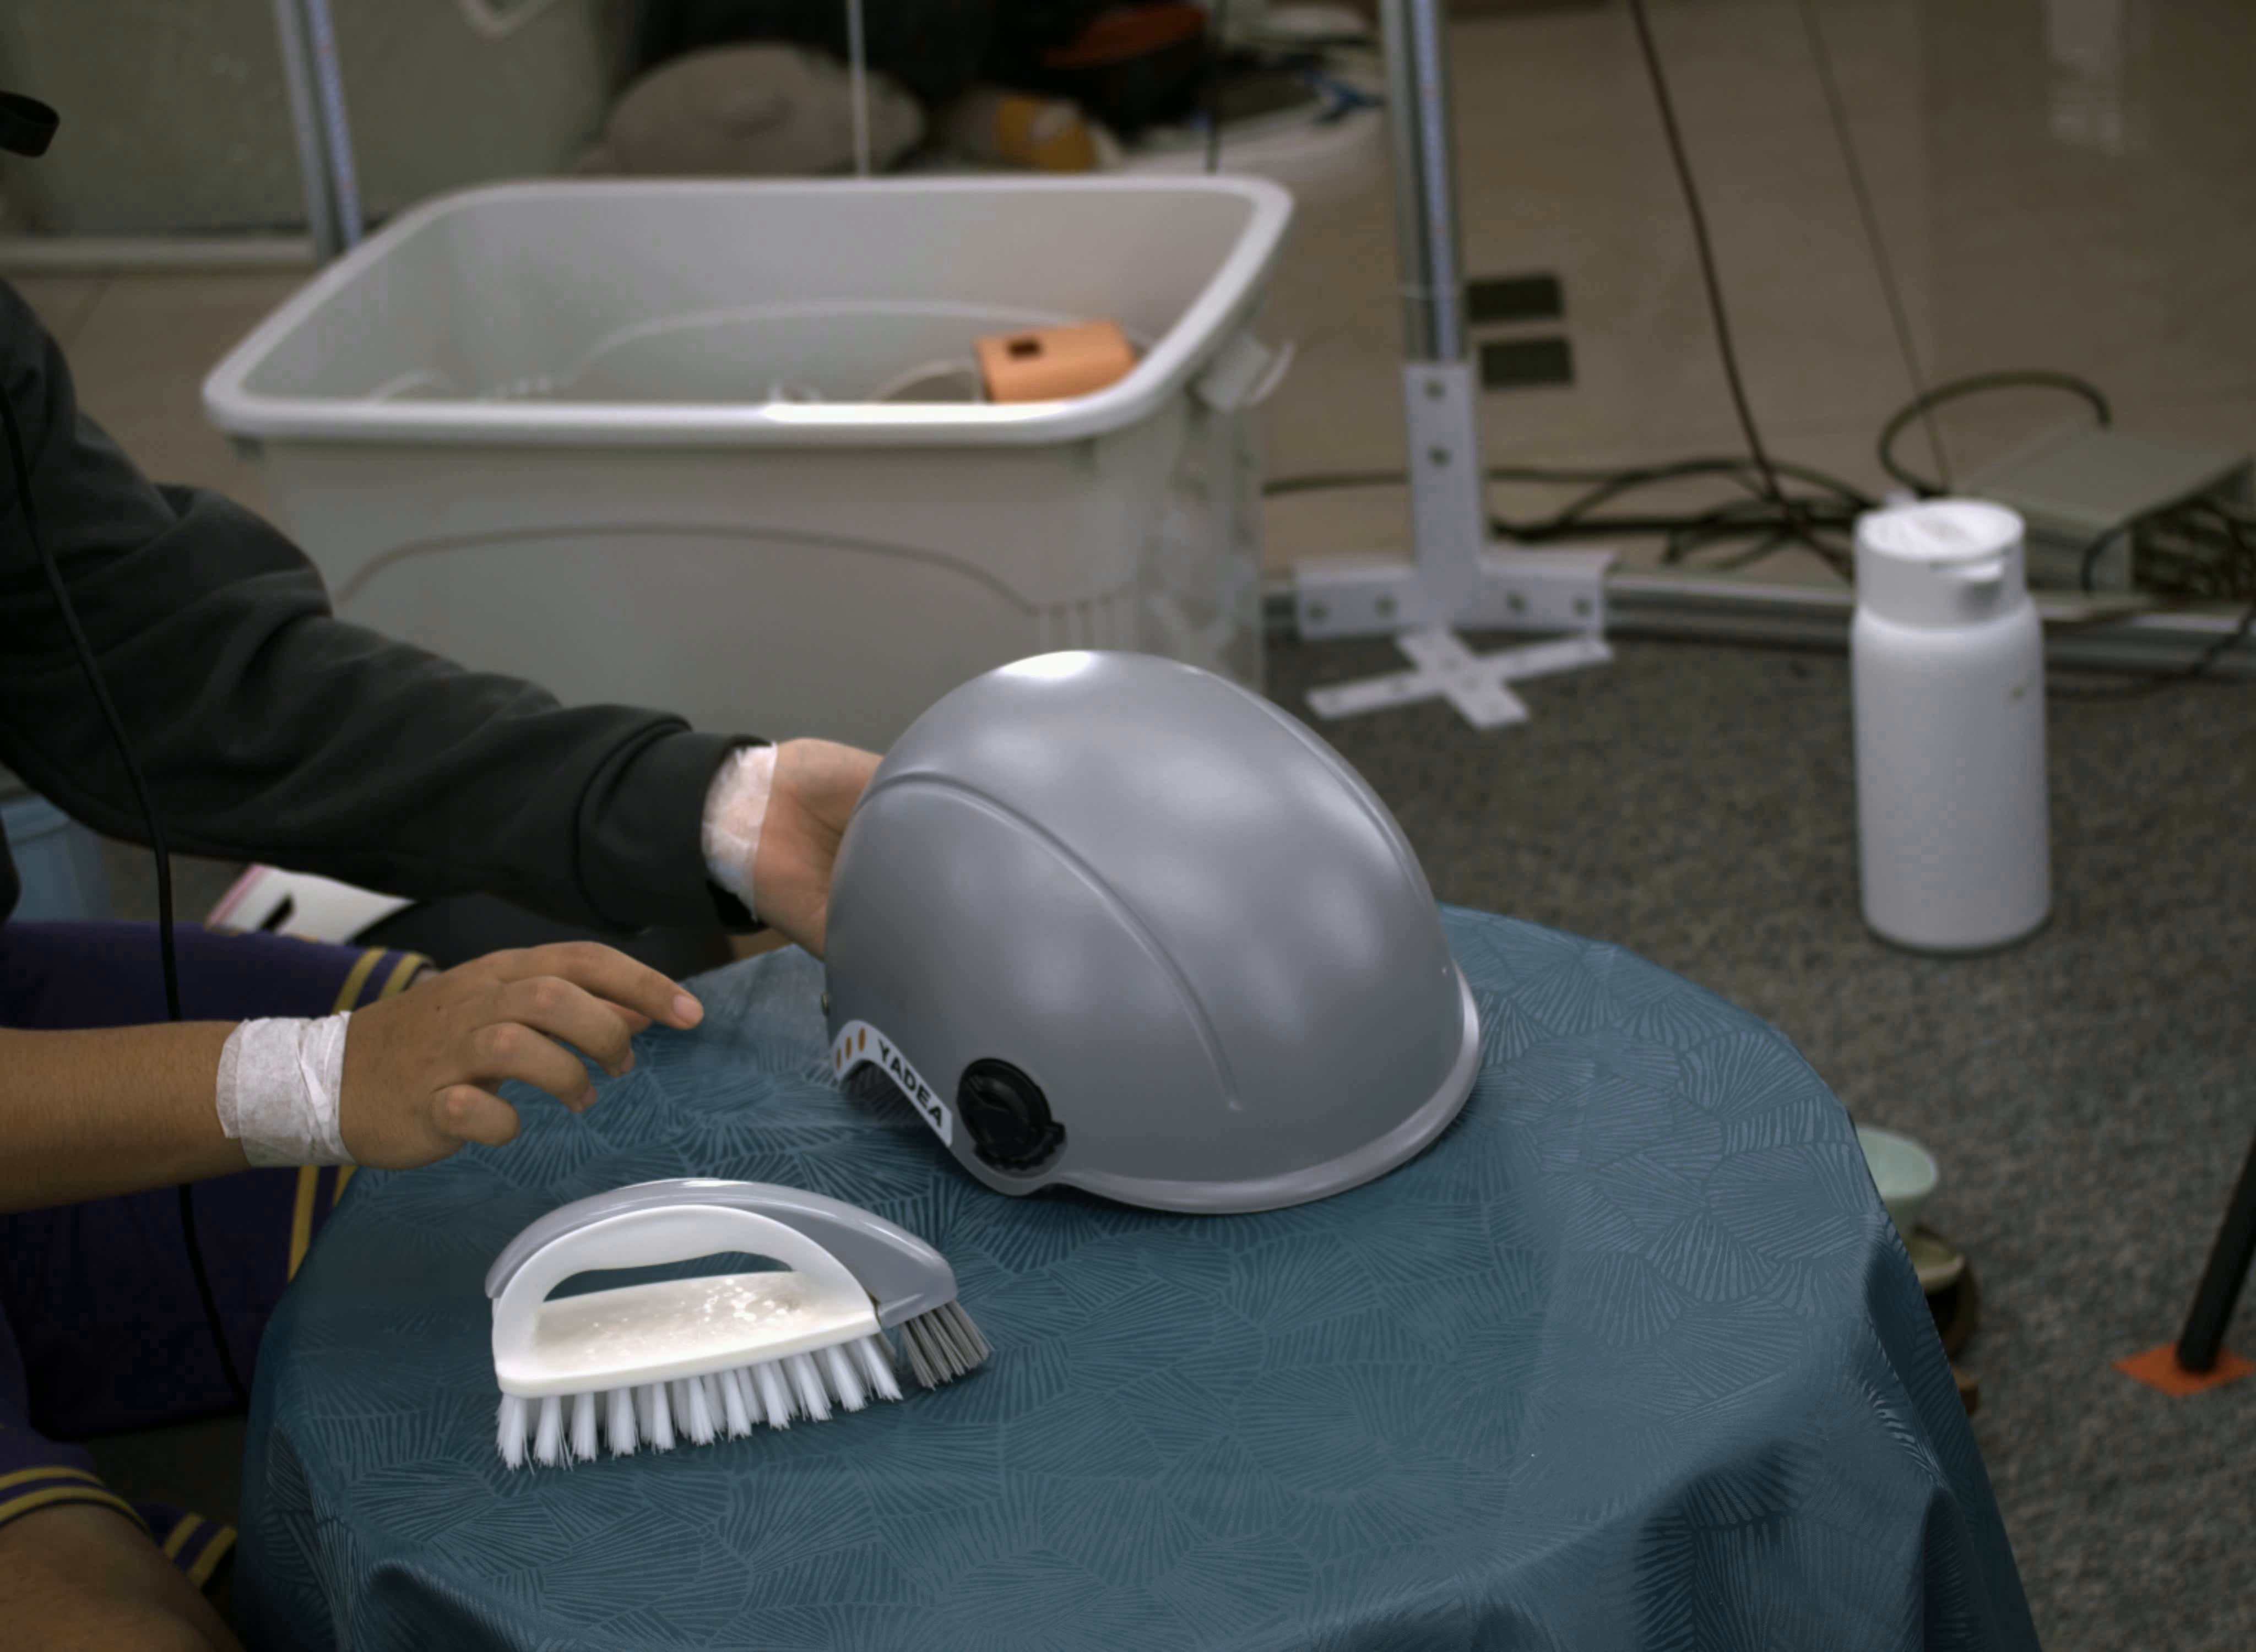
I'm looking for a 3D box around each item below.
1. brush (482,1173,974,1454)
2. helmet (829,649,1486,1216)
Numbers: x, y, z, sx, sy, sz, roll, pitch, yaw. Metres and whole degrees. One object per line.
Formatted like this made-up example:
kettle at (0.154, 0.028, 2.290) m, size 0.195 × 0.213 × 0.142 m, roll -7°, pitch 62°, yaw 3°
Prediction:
brush at (-0.145, 0.165, 2.019) m, size 0.175 × 0.096 × 0.060 m, roll -6°, pitch 28°, yaw -3°
helmet at (0.002, 0.023, 2.195) m, size 0.230 × 0.172 × 0.274 m, roll -33°, pitch 37°, yaw -31°
